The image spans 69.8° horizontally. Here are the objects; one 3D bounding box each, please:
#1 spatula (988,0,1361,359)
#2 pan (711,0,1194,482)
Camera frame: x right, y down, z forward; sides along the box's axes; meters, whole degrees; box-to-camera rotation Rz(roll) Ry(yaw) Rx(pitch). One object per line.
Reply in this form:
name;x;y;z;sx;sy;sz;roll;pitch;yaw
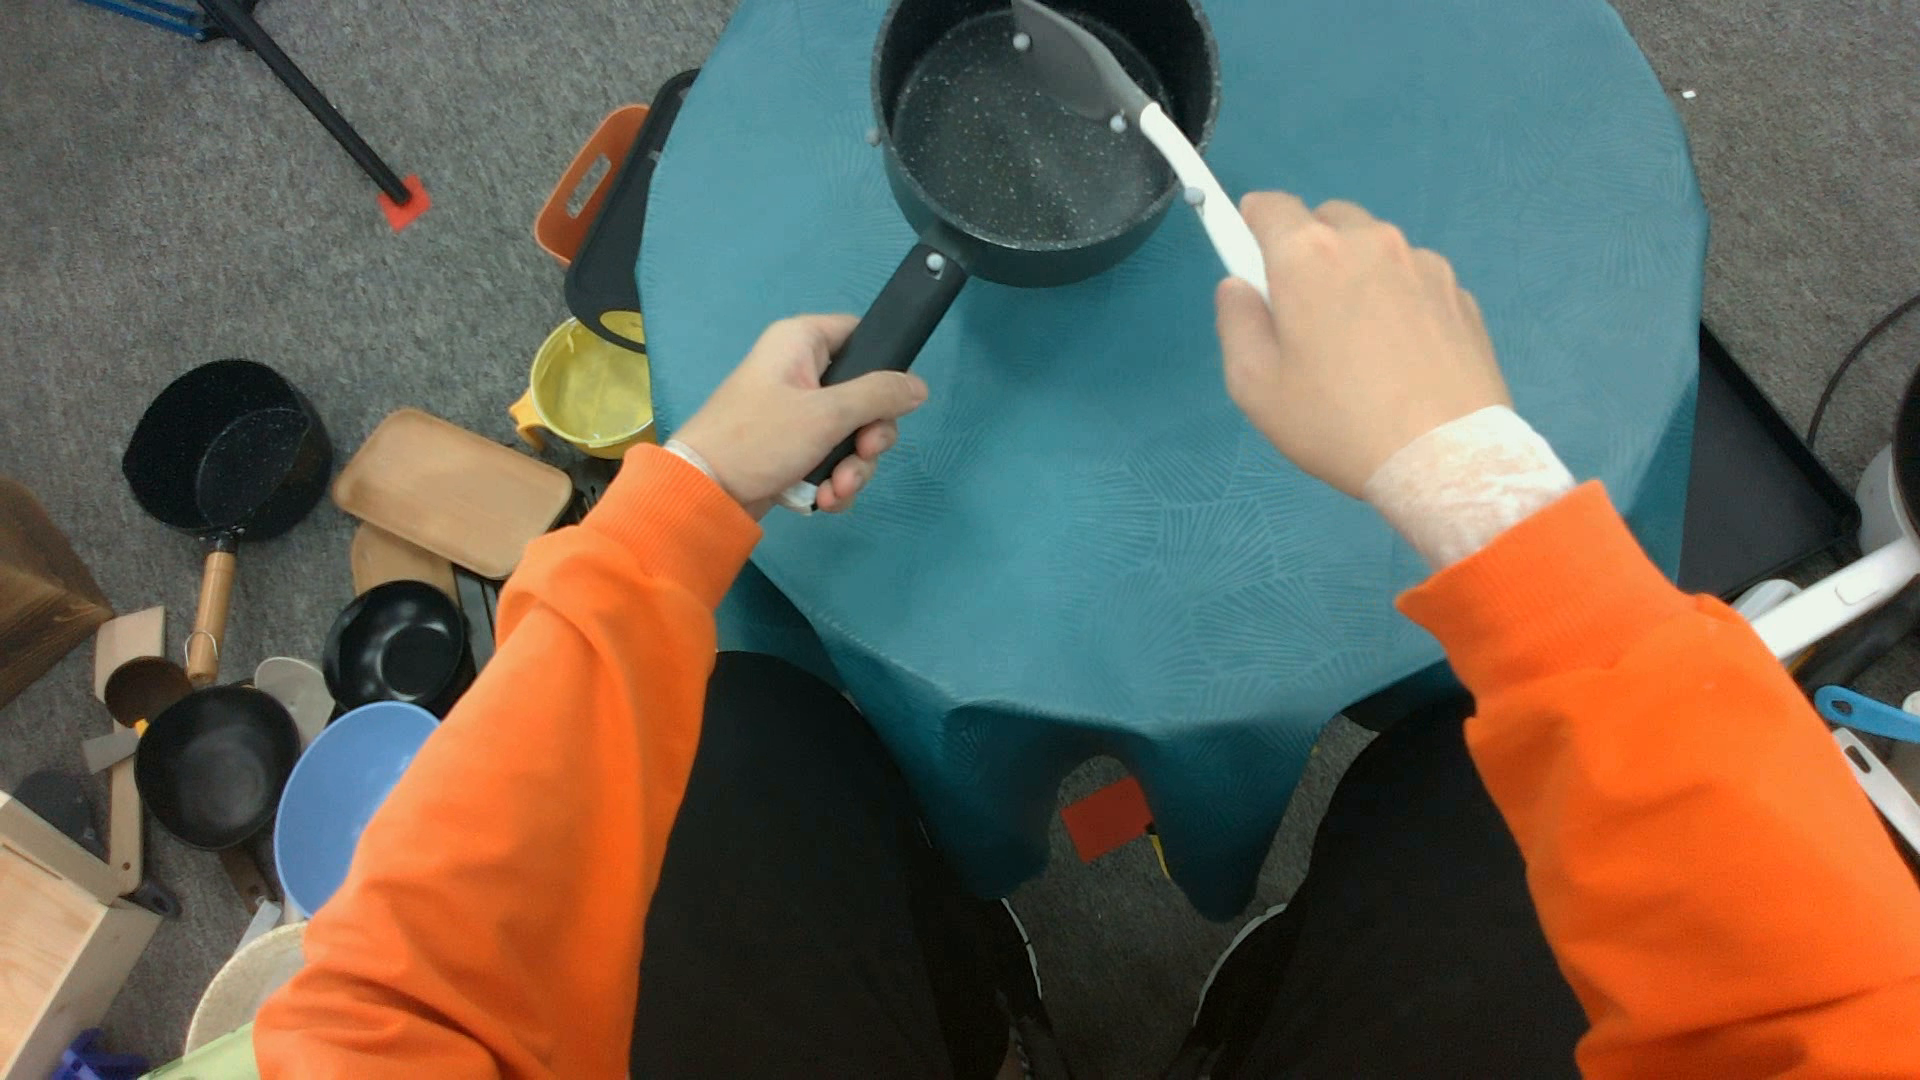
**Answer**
spatula;0.080;-0.175;0.605;0.032;0.058;0.288;-24;50;-8
pan;-0.014;-0.162;0.693;0.172;0.086;0.329;32;80;4
